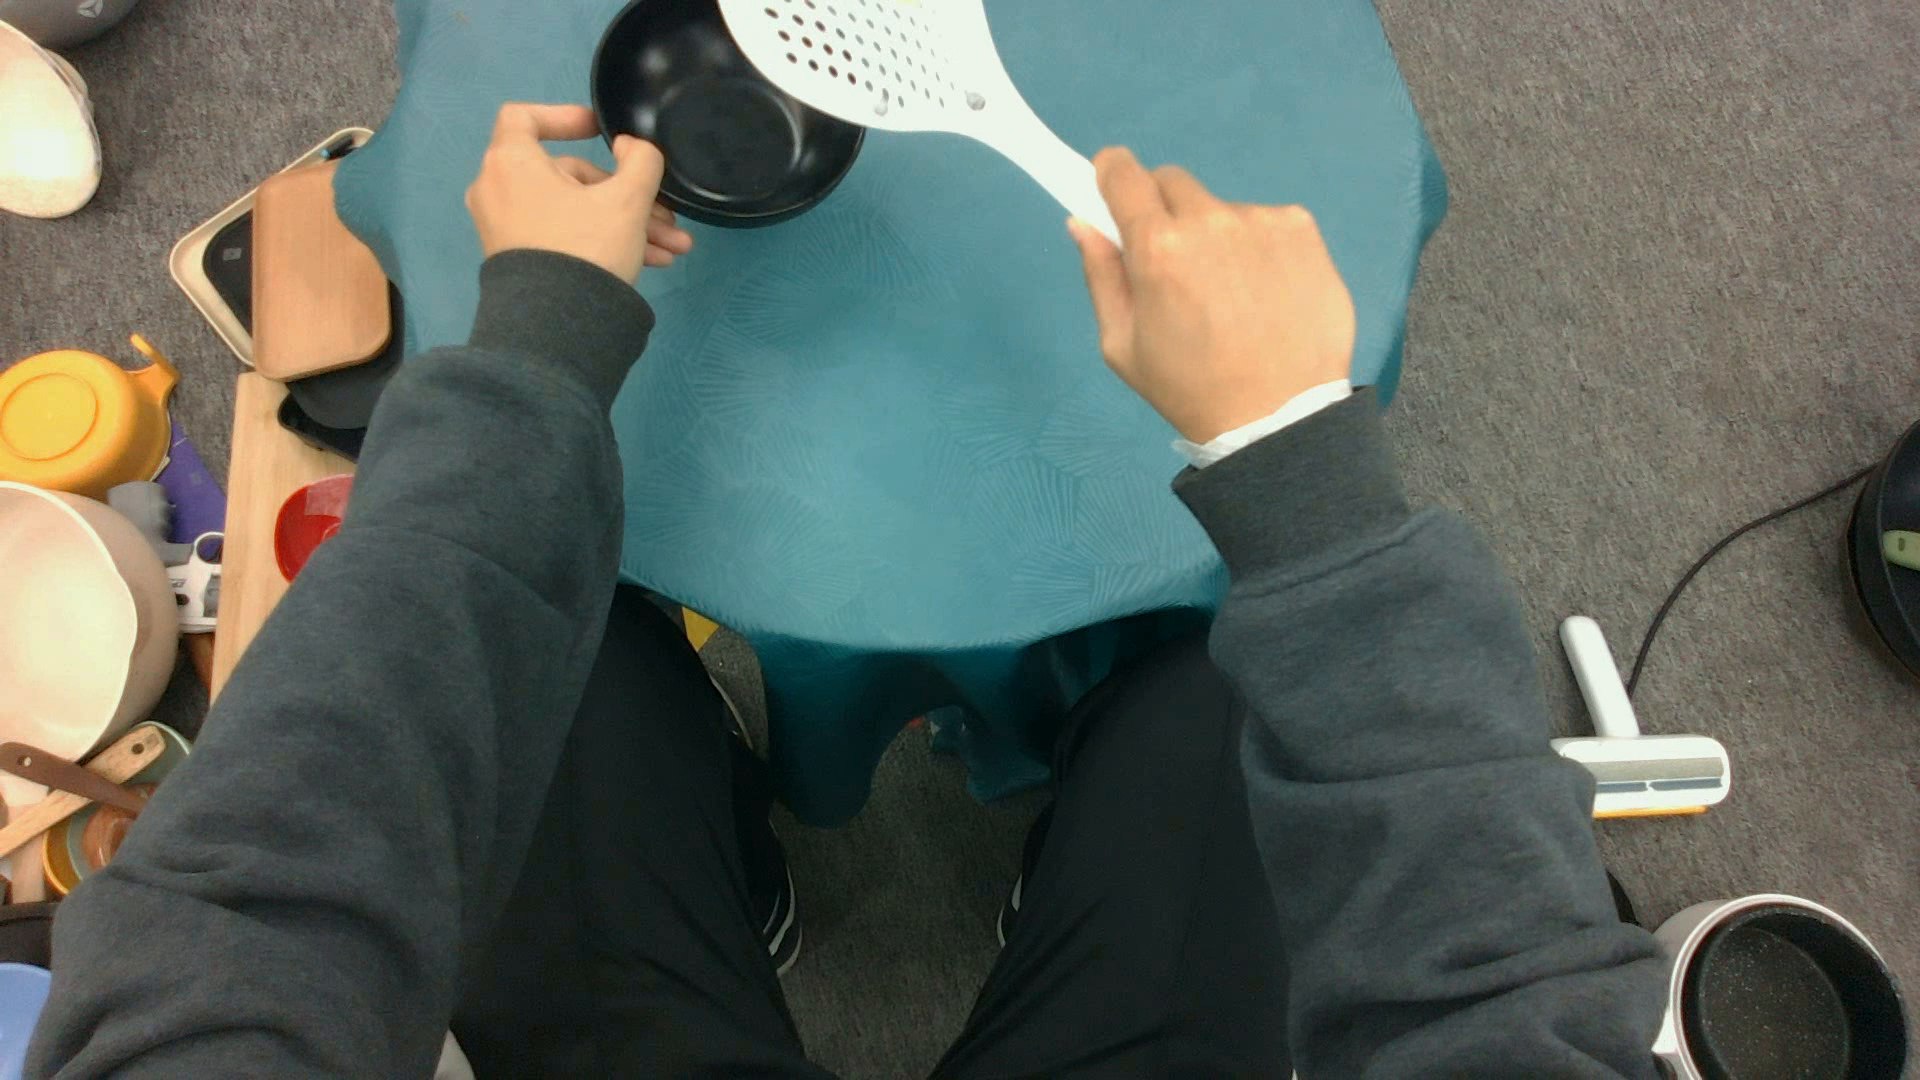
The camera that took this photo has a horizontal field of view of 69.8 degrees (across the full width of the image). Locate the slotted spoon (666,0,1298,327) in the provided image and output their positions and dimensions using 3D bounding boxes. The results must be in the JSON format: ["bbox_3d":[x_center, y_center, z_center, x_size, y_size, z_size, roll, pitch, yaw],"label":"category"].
[{"bbox_3d":[0.000,-0.192,0.604,0.348,0.136,0.050,44,39,19],"label":"slotted spoon"}]

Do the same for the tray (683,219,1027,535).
[{"bbox_3d":[-0.103,-0.162,1.348,0.300,0.027,0.192,40,76,8],"label":"tray"}]
